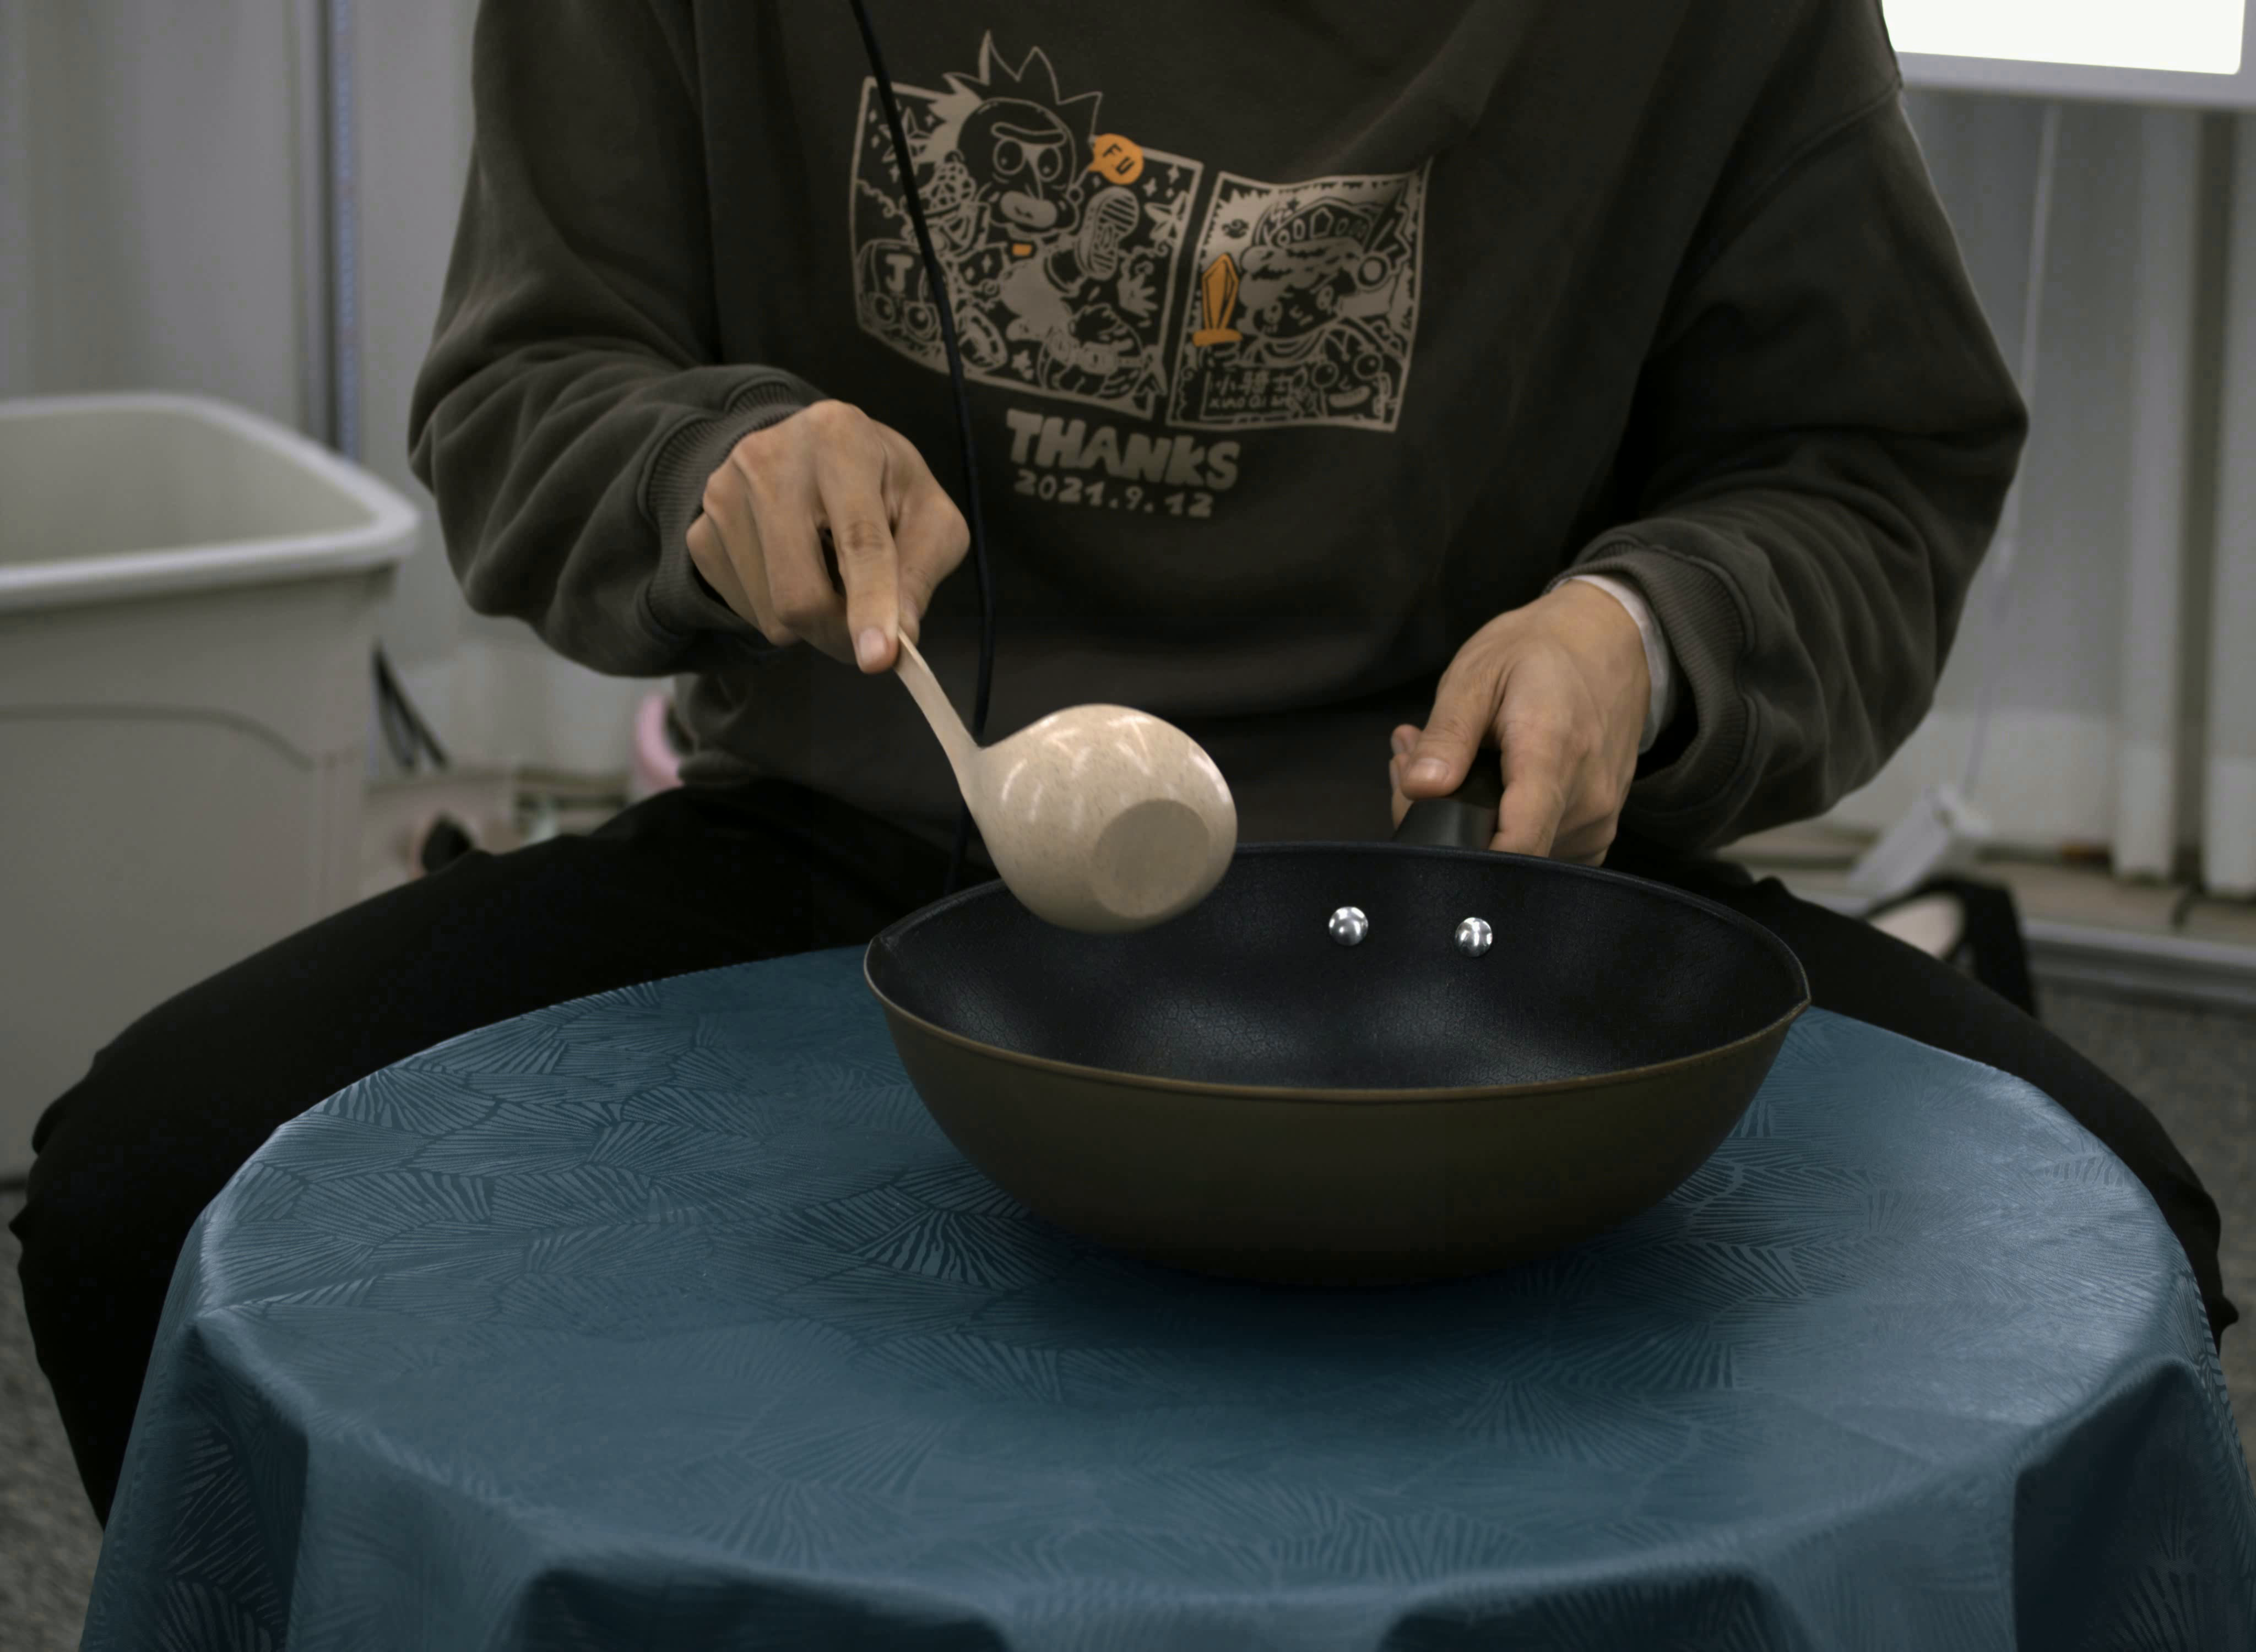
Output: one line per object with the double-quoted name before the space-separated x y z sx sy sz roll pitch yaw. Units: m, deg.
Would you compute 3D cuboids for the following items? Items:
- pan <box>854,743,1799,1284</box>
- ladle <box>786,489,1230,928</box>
"pan" 0.080 0.056 1.684 0.286 0.087 0.463 4 14 13
"ladle" -0.040 -0.050 1.668 0.073 0.073 0.251 -3 30 -20
